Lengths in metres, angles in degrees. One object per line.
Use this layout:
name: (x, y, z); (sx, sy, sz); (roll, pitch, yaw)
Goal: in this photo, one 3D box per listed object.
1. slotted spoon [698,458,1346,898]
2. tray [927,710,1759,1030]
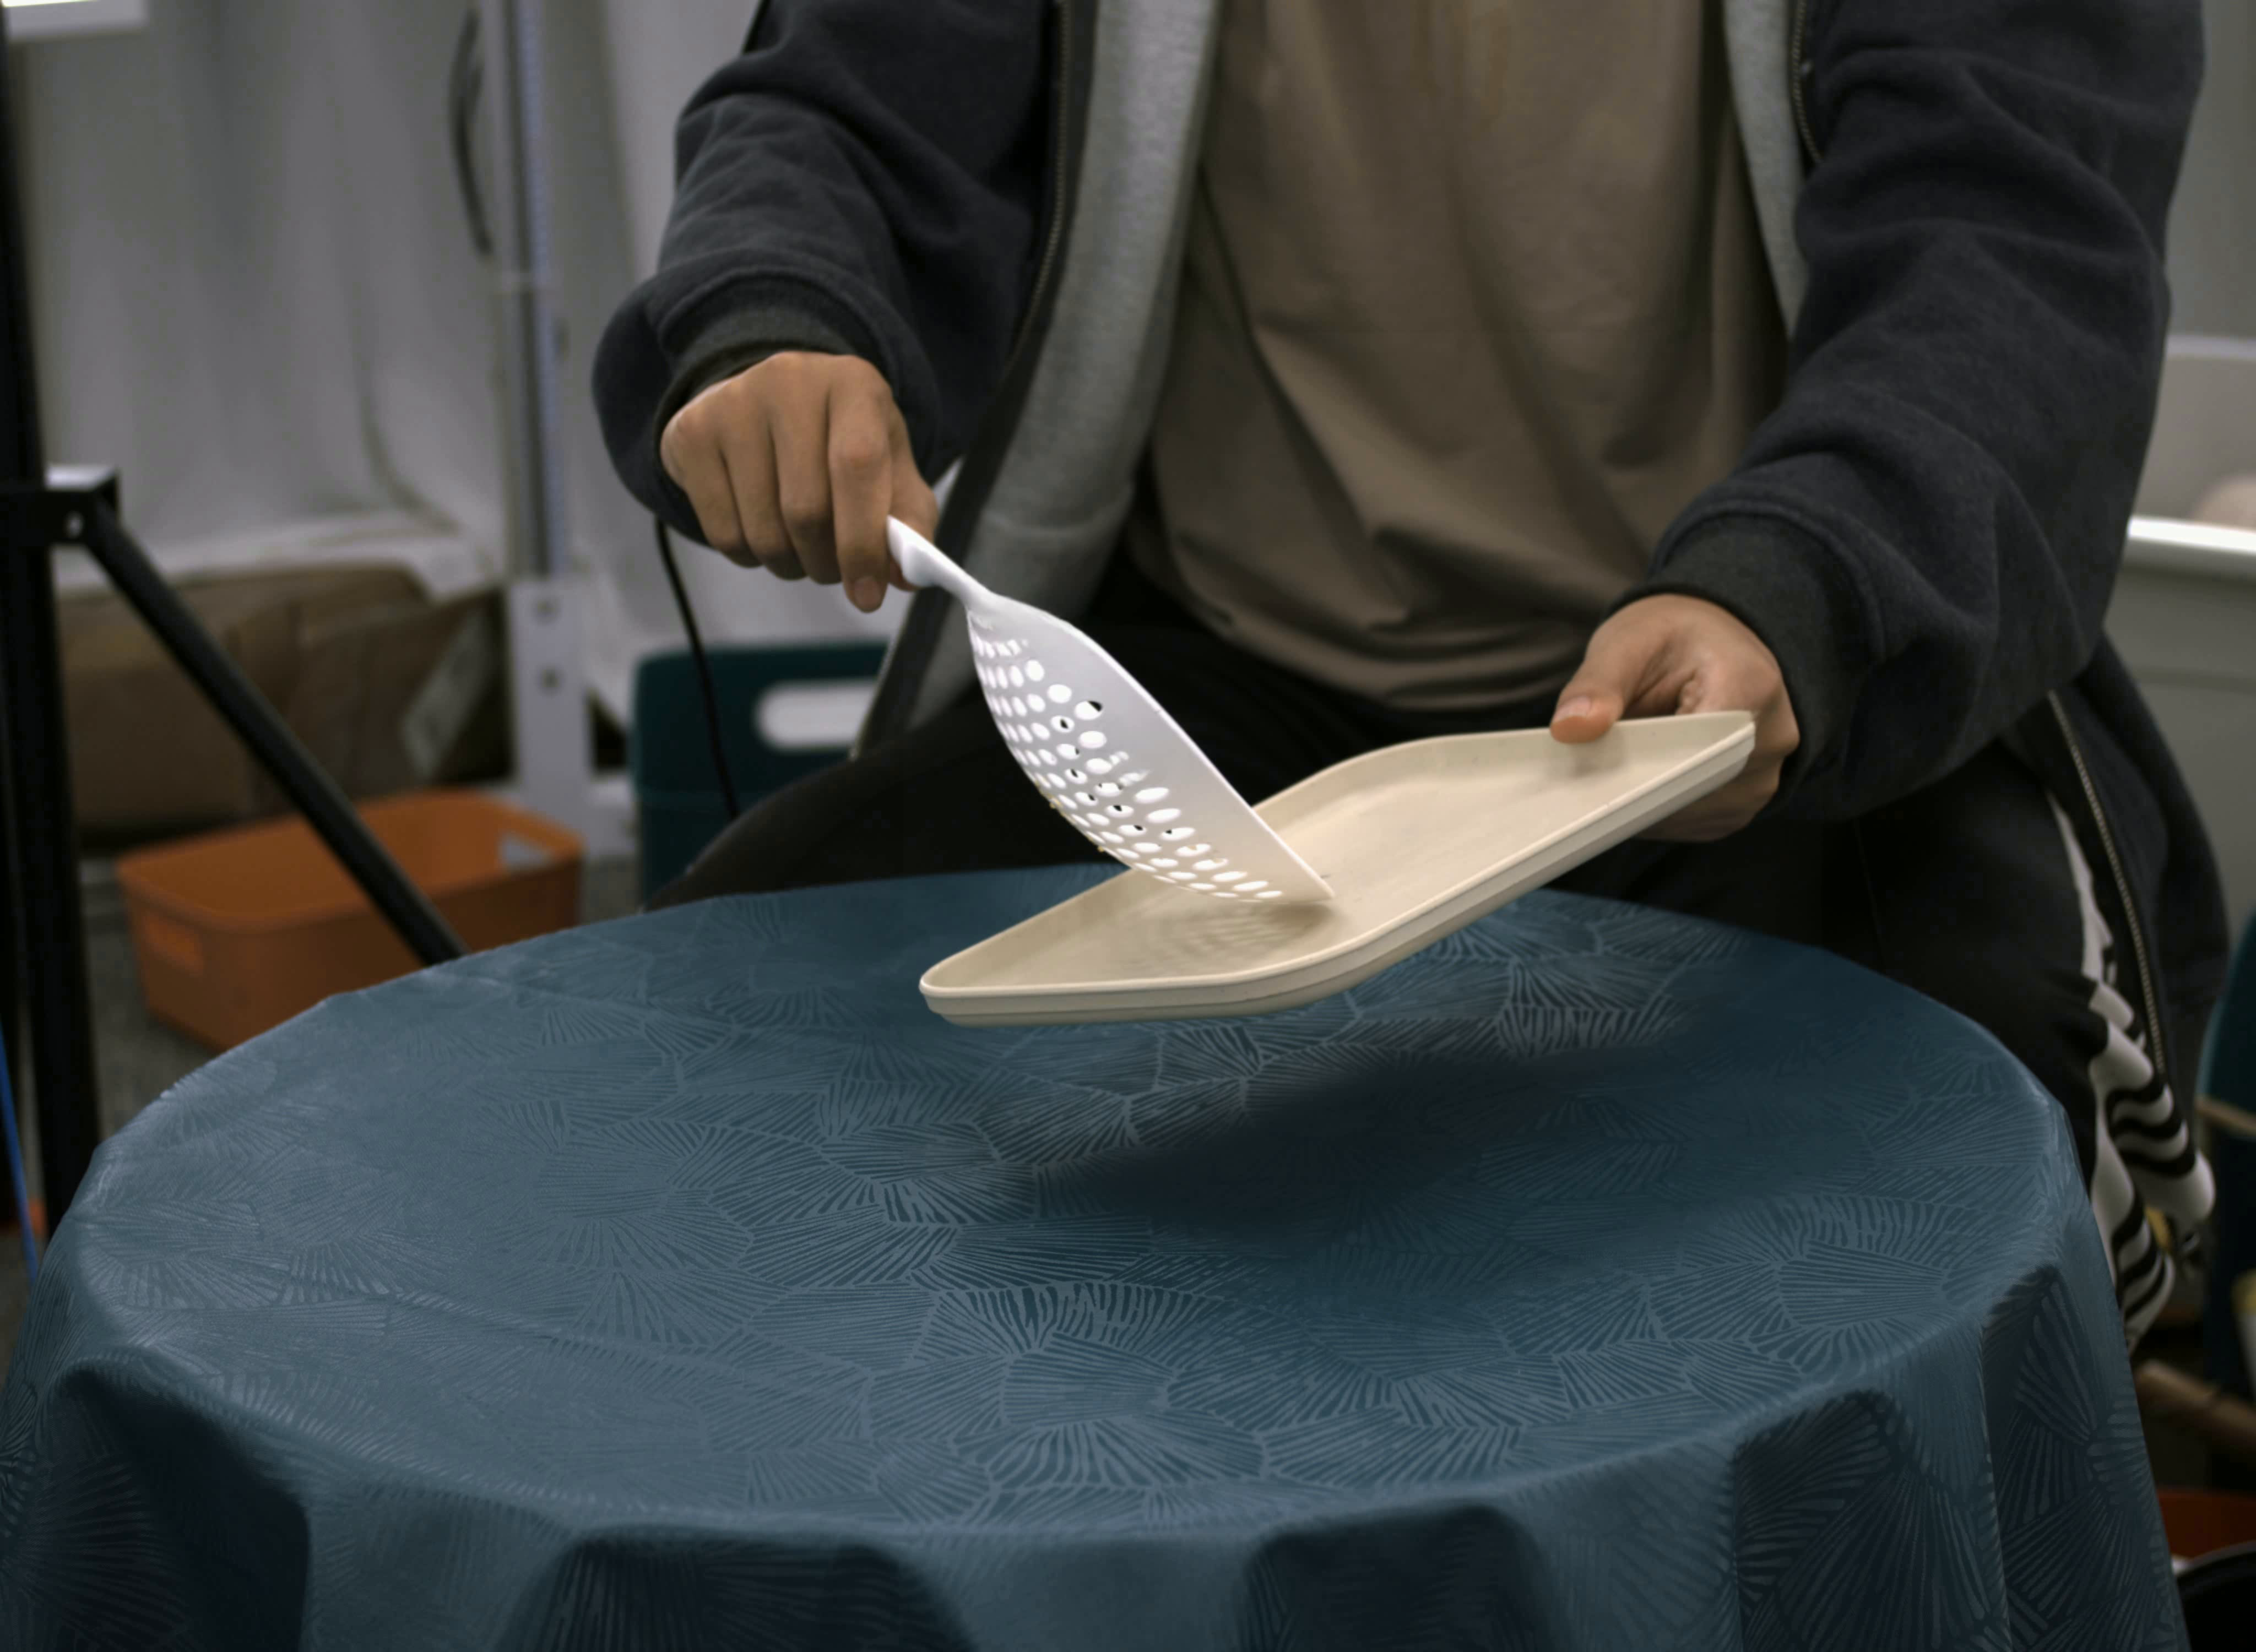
slotted spoon: (-0.048, -0.060, 1.650); (0.050, 0.134, 0.355); (-46, 35, 0)
tray: (0.067, 0.014, 1.581); (0.175, 0.017, 0.235); (-6, 15, 46)
